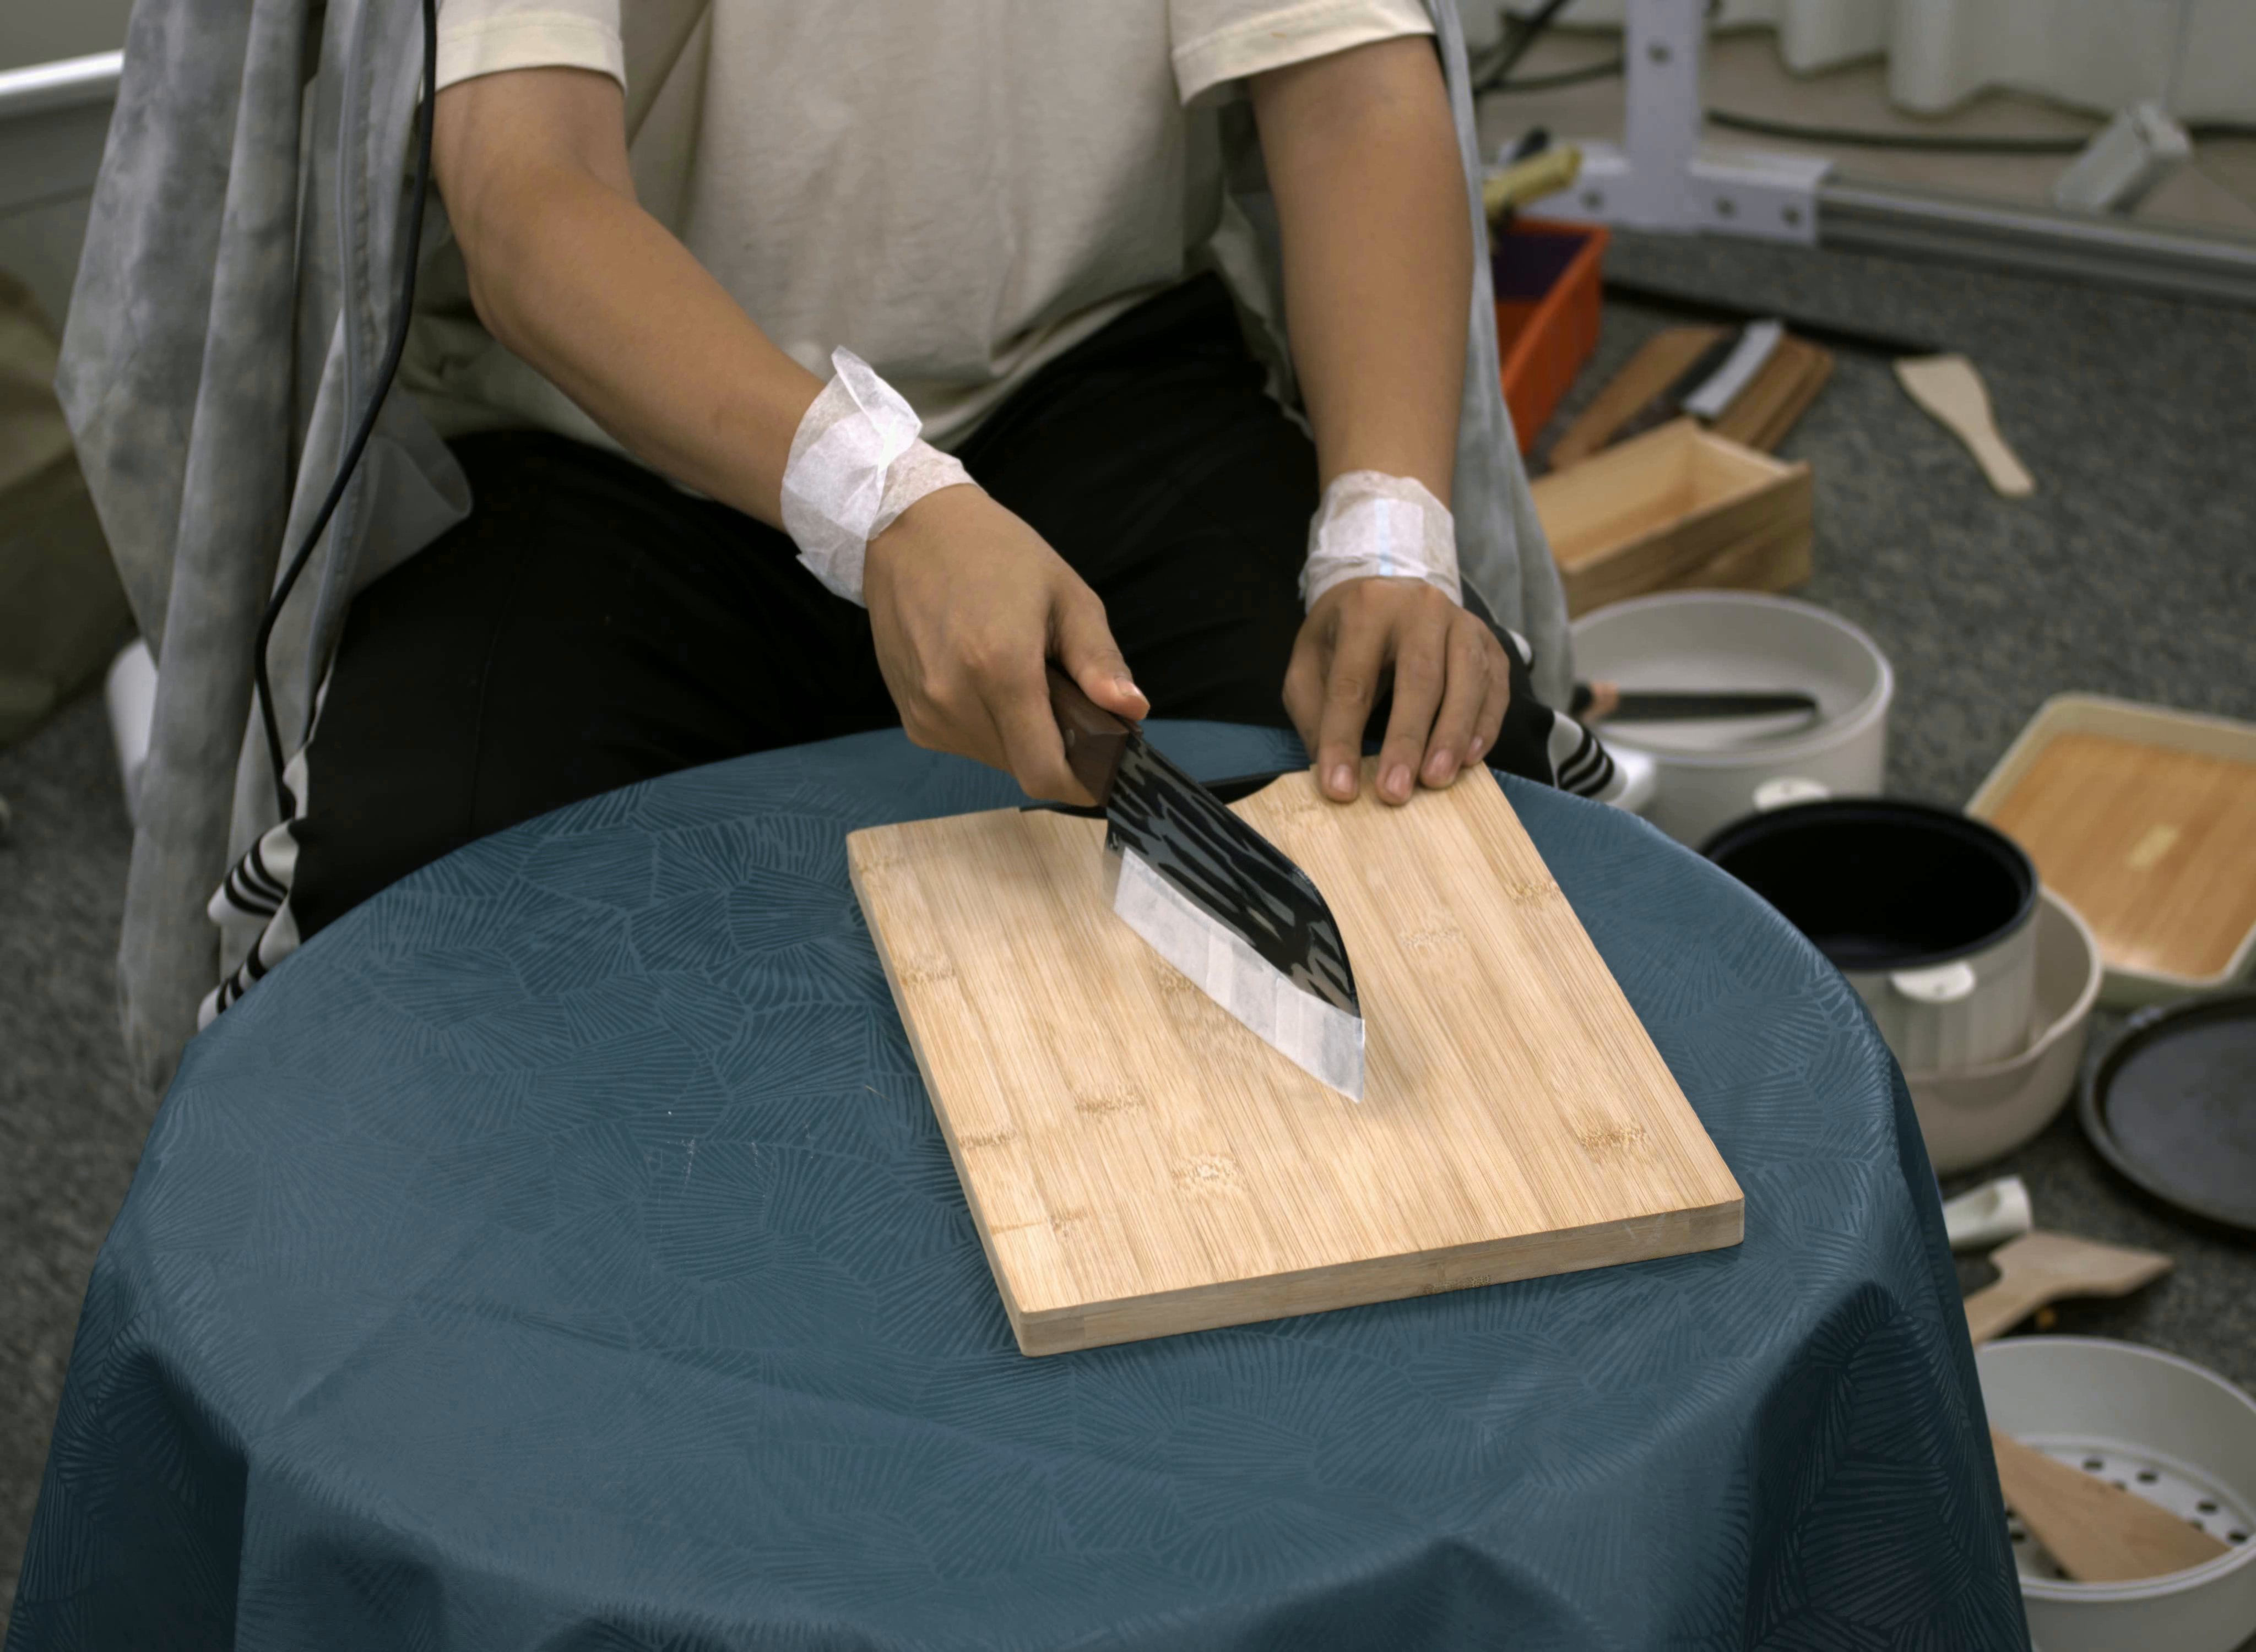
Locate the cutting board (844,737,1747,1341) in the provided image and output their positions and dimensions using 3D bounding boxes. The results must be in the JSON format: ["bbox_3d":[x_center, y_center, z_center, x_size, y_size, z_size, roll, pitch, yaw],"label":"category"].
[{"bbox_3d":[0.048,0.067,1.943,0.250,0.023,0.352,-8,27,-11],"label":"cutting board"}]

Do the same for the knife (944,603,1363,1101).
[{"bbox_3d":[0.008,0.006,1.965,0.024,0.067,0.301,-3,27,-31],"label":"knife"}]
